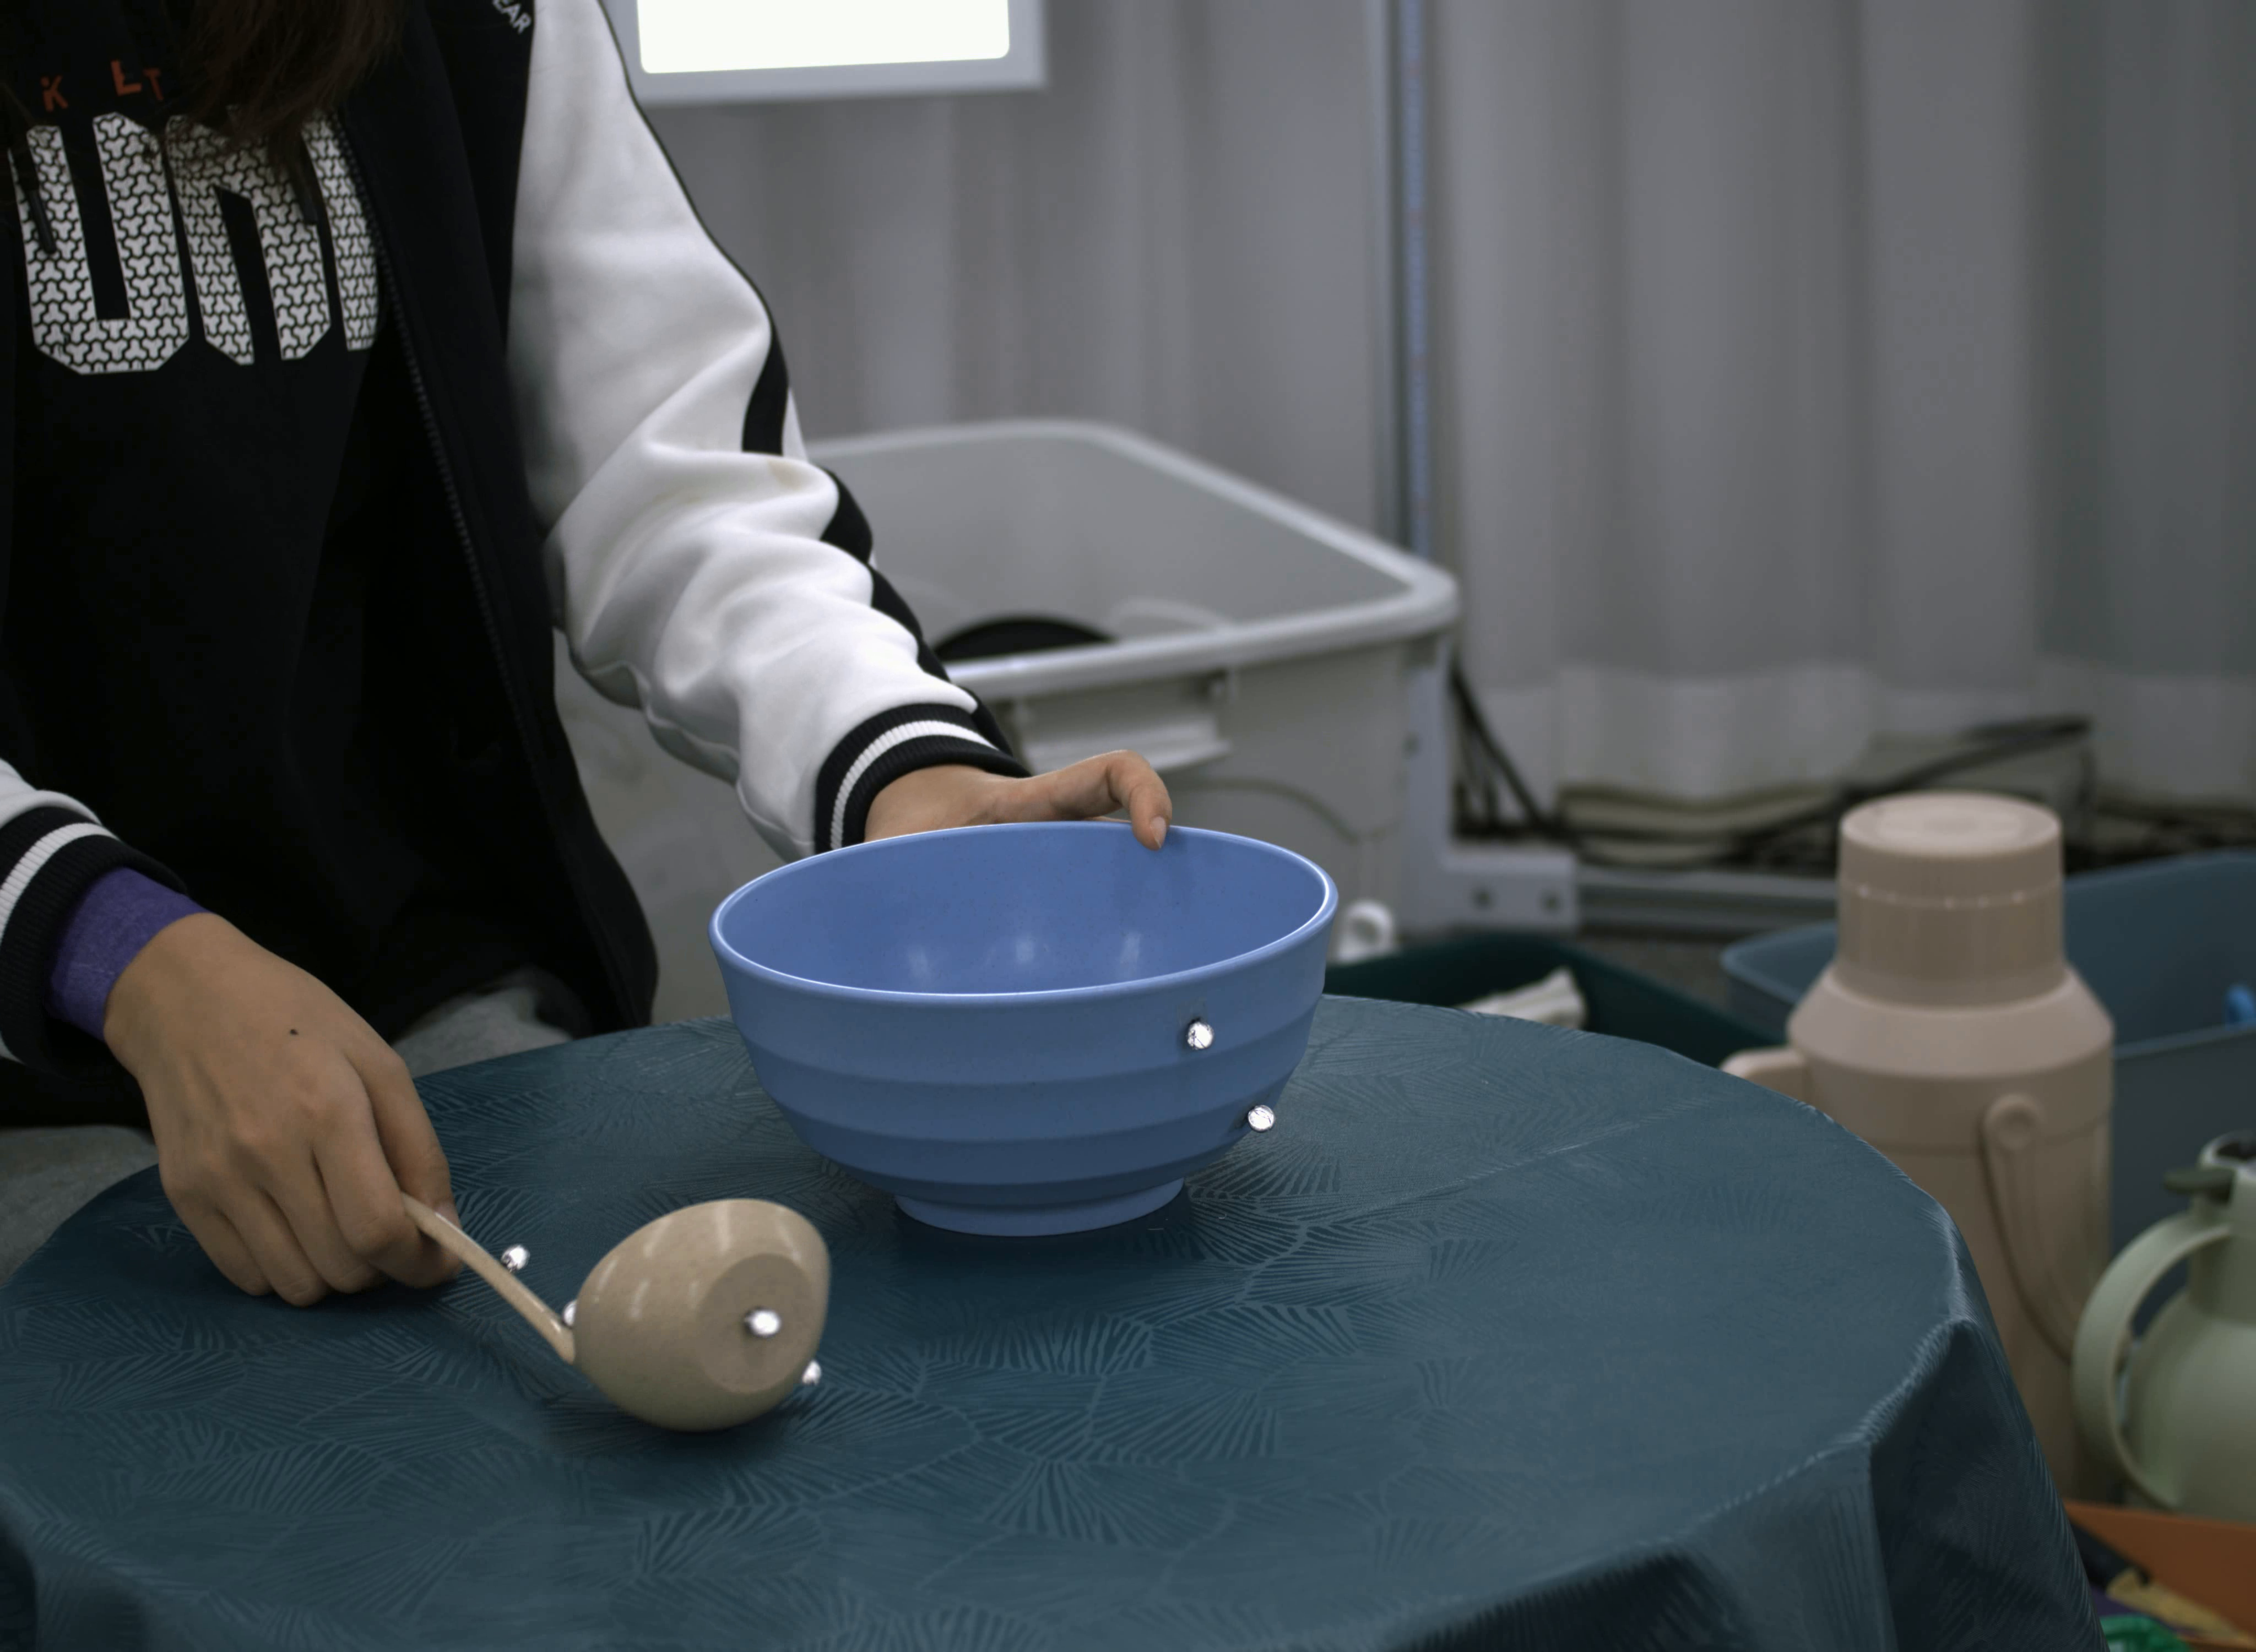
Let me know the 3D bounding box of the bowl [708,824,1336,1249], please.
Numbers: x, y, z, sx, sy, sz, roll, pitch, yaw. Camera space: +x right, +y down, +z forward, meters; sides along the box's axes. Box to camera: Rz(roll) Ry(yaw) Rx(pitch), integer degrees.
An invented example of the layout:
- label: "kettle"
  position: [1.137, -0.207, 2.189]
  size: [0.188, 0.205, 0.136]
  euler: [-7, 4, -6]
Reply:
- label: "bowl"
  position: [-0.030, 0.072, 1.710]
  size: [0.196, 0.095, 0.198]
  euler: [-4, 15, 1]

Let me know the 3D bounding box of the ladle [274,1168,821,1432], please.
- label: "ladle"
  position: [-0.175, 0.110, 1.602]
  size: [0.071, 0.073, 0.256]
  euler: [26, -1, -38]
